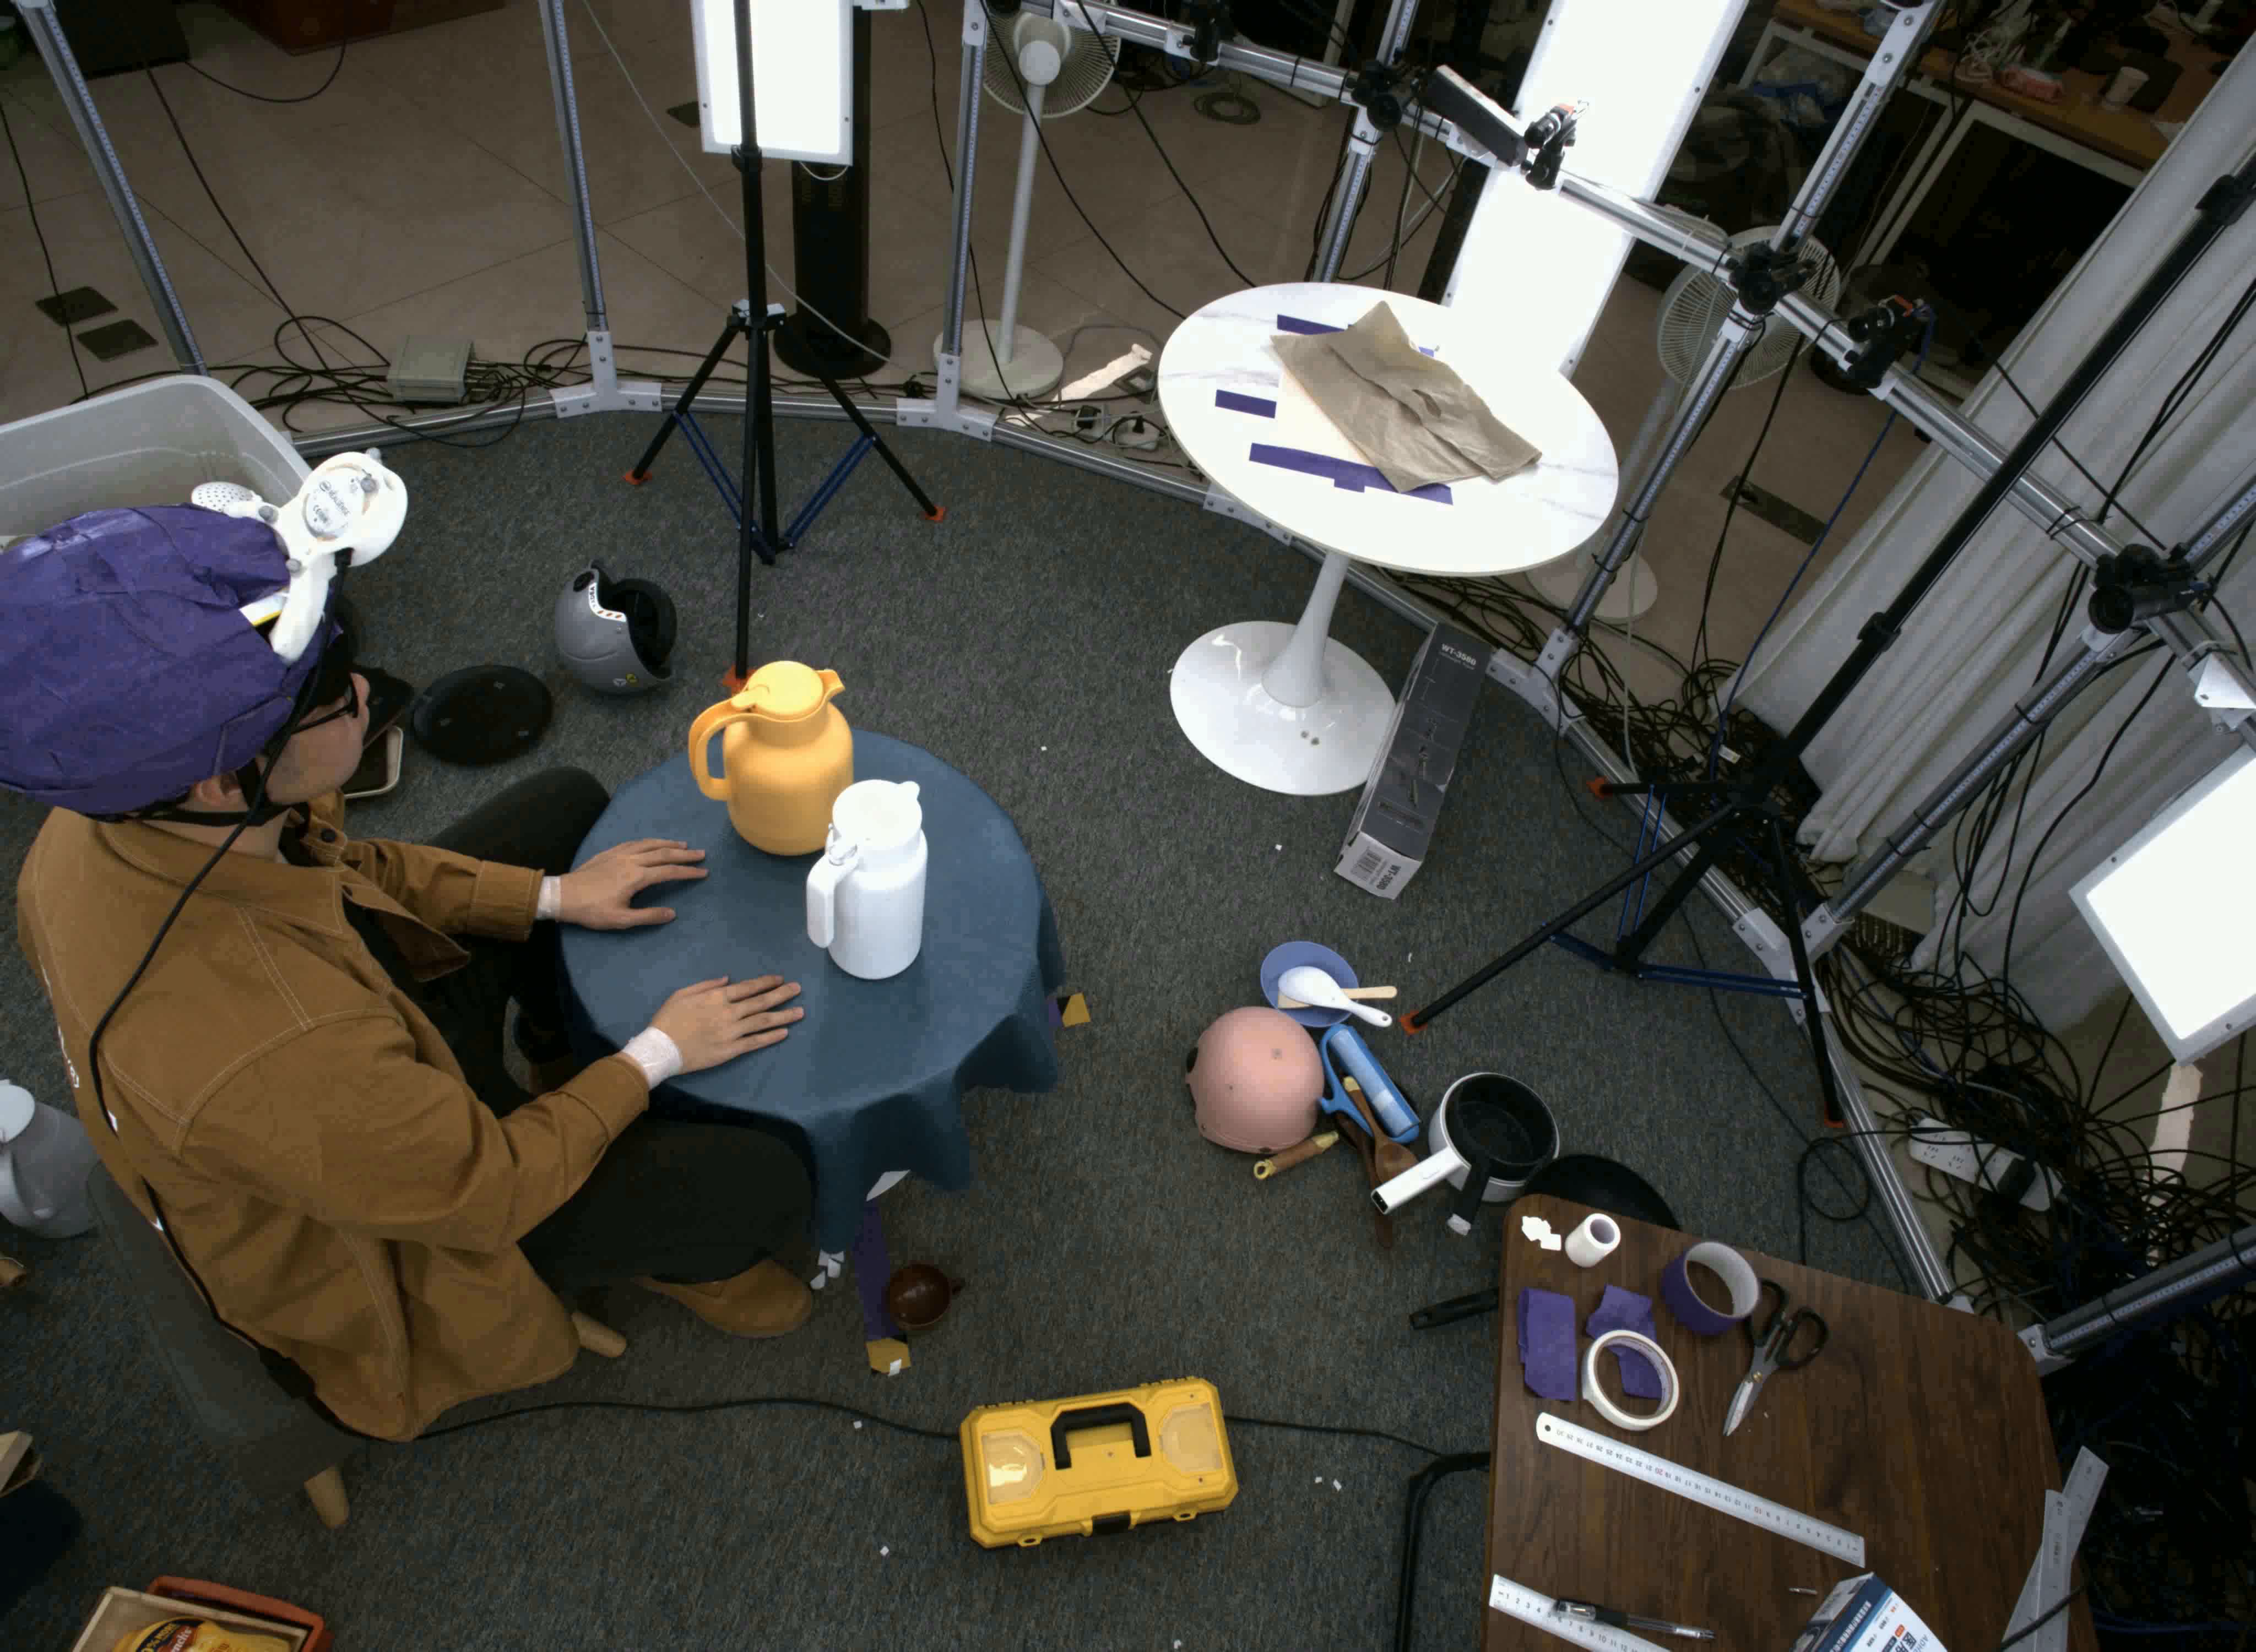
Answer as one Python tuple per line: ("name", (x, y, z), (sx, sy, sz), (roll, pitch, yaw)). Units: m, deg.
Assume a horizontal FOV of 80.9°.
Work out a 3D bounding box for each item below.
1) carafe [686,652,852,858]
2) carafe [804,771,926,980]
("carafe", (-0.445, -0.090, 1.612), (0.203, 0.266, 0.159), (-18, 55, -26))
("carafe", (-0.308, 0.073, 1.523), (0.122, 0.274, 0.172), (32, 53, 11))
